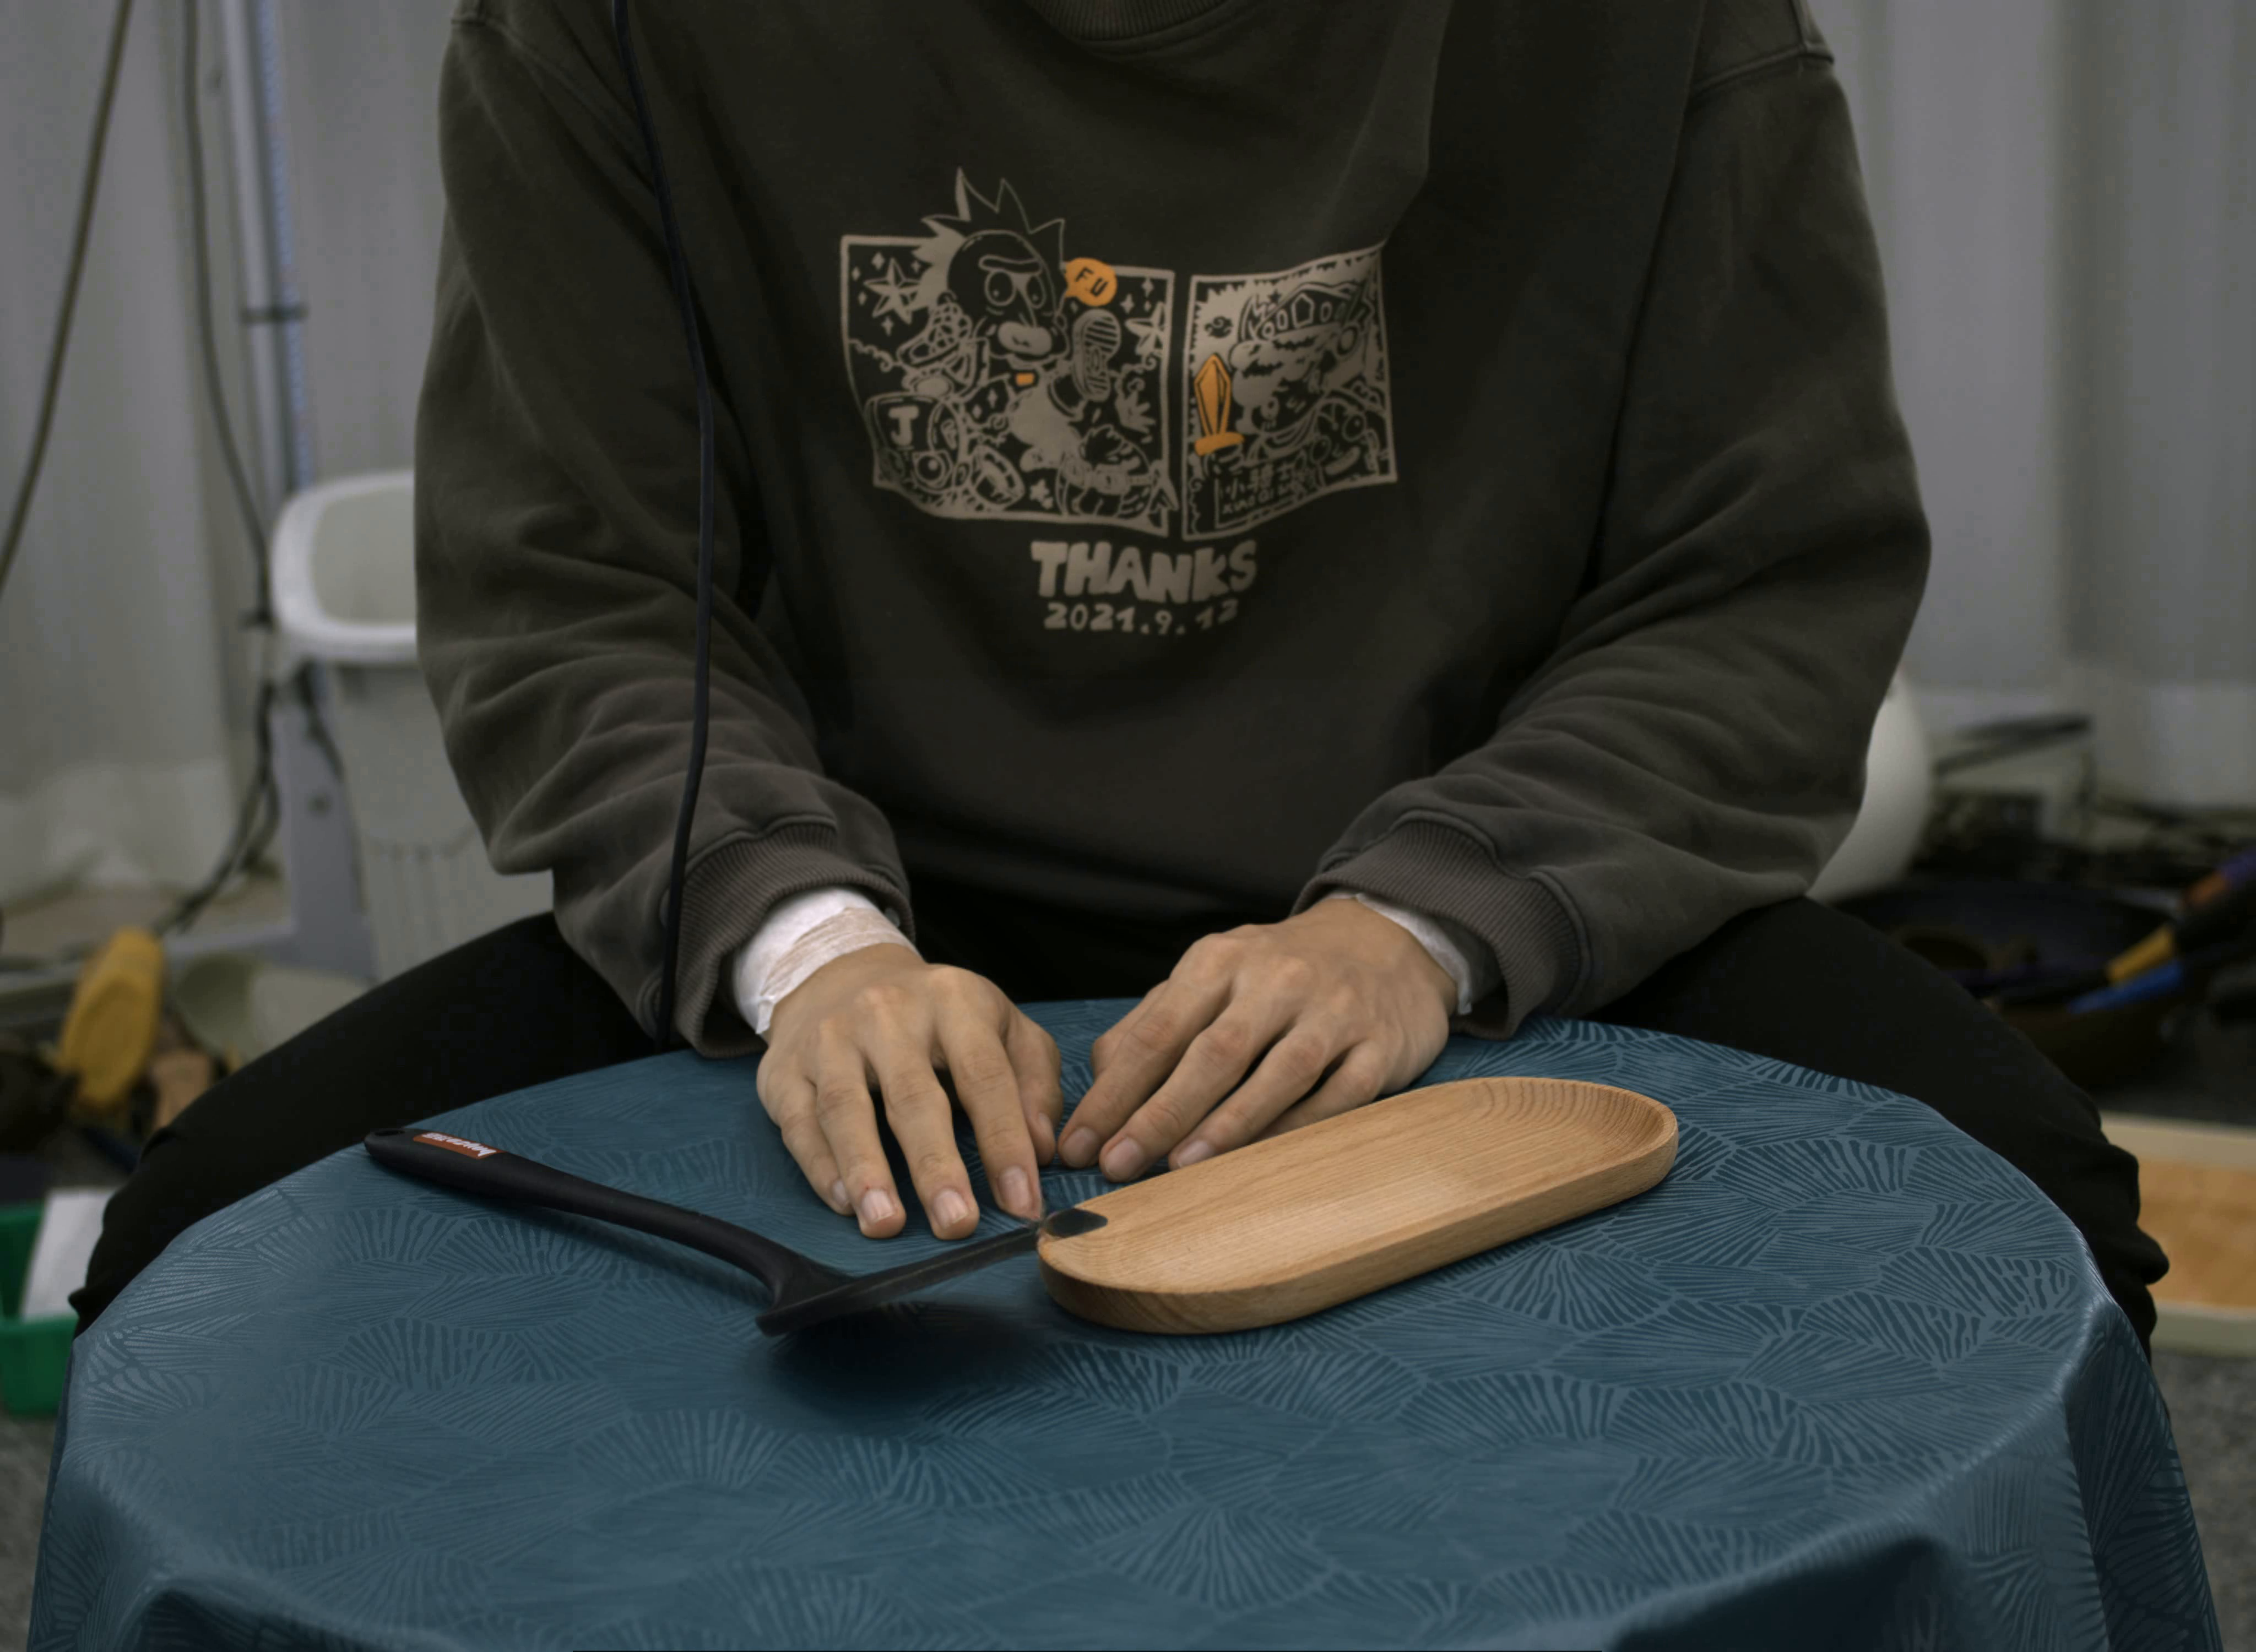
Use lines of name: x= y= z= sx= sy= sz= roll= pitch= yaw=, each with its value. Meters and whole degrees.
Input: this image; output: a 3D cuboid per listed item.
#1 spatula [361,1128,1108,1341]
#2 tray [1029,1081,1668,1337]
spatula: x=-0.142 y=0.116 z=1.676 sx=0.099 sy=0.040 sz=0.328 roll=-14 pitch=18 yaw=-39
tray: x=0.070 y=0.116 z=1.673 sx=0.230 sy=0.020 sz=0.102 roll=-17 pitch=20 yaw=-39
